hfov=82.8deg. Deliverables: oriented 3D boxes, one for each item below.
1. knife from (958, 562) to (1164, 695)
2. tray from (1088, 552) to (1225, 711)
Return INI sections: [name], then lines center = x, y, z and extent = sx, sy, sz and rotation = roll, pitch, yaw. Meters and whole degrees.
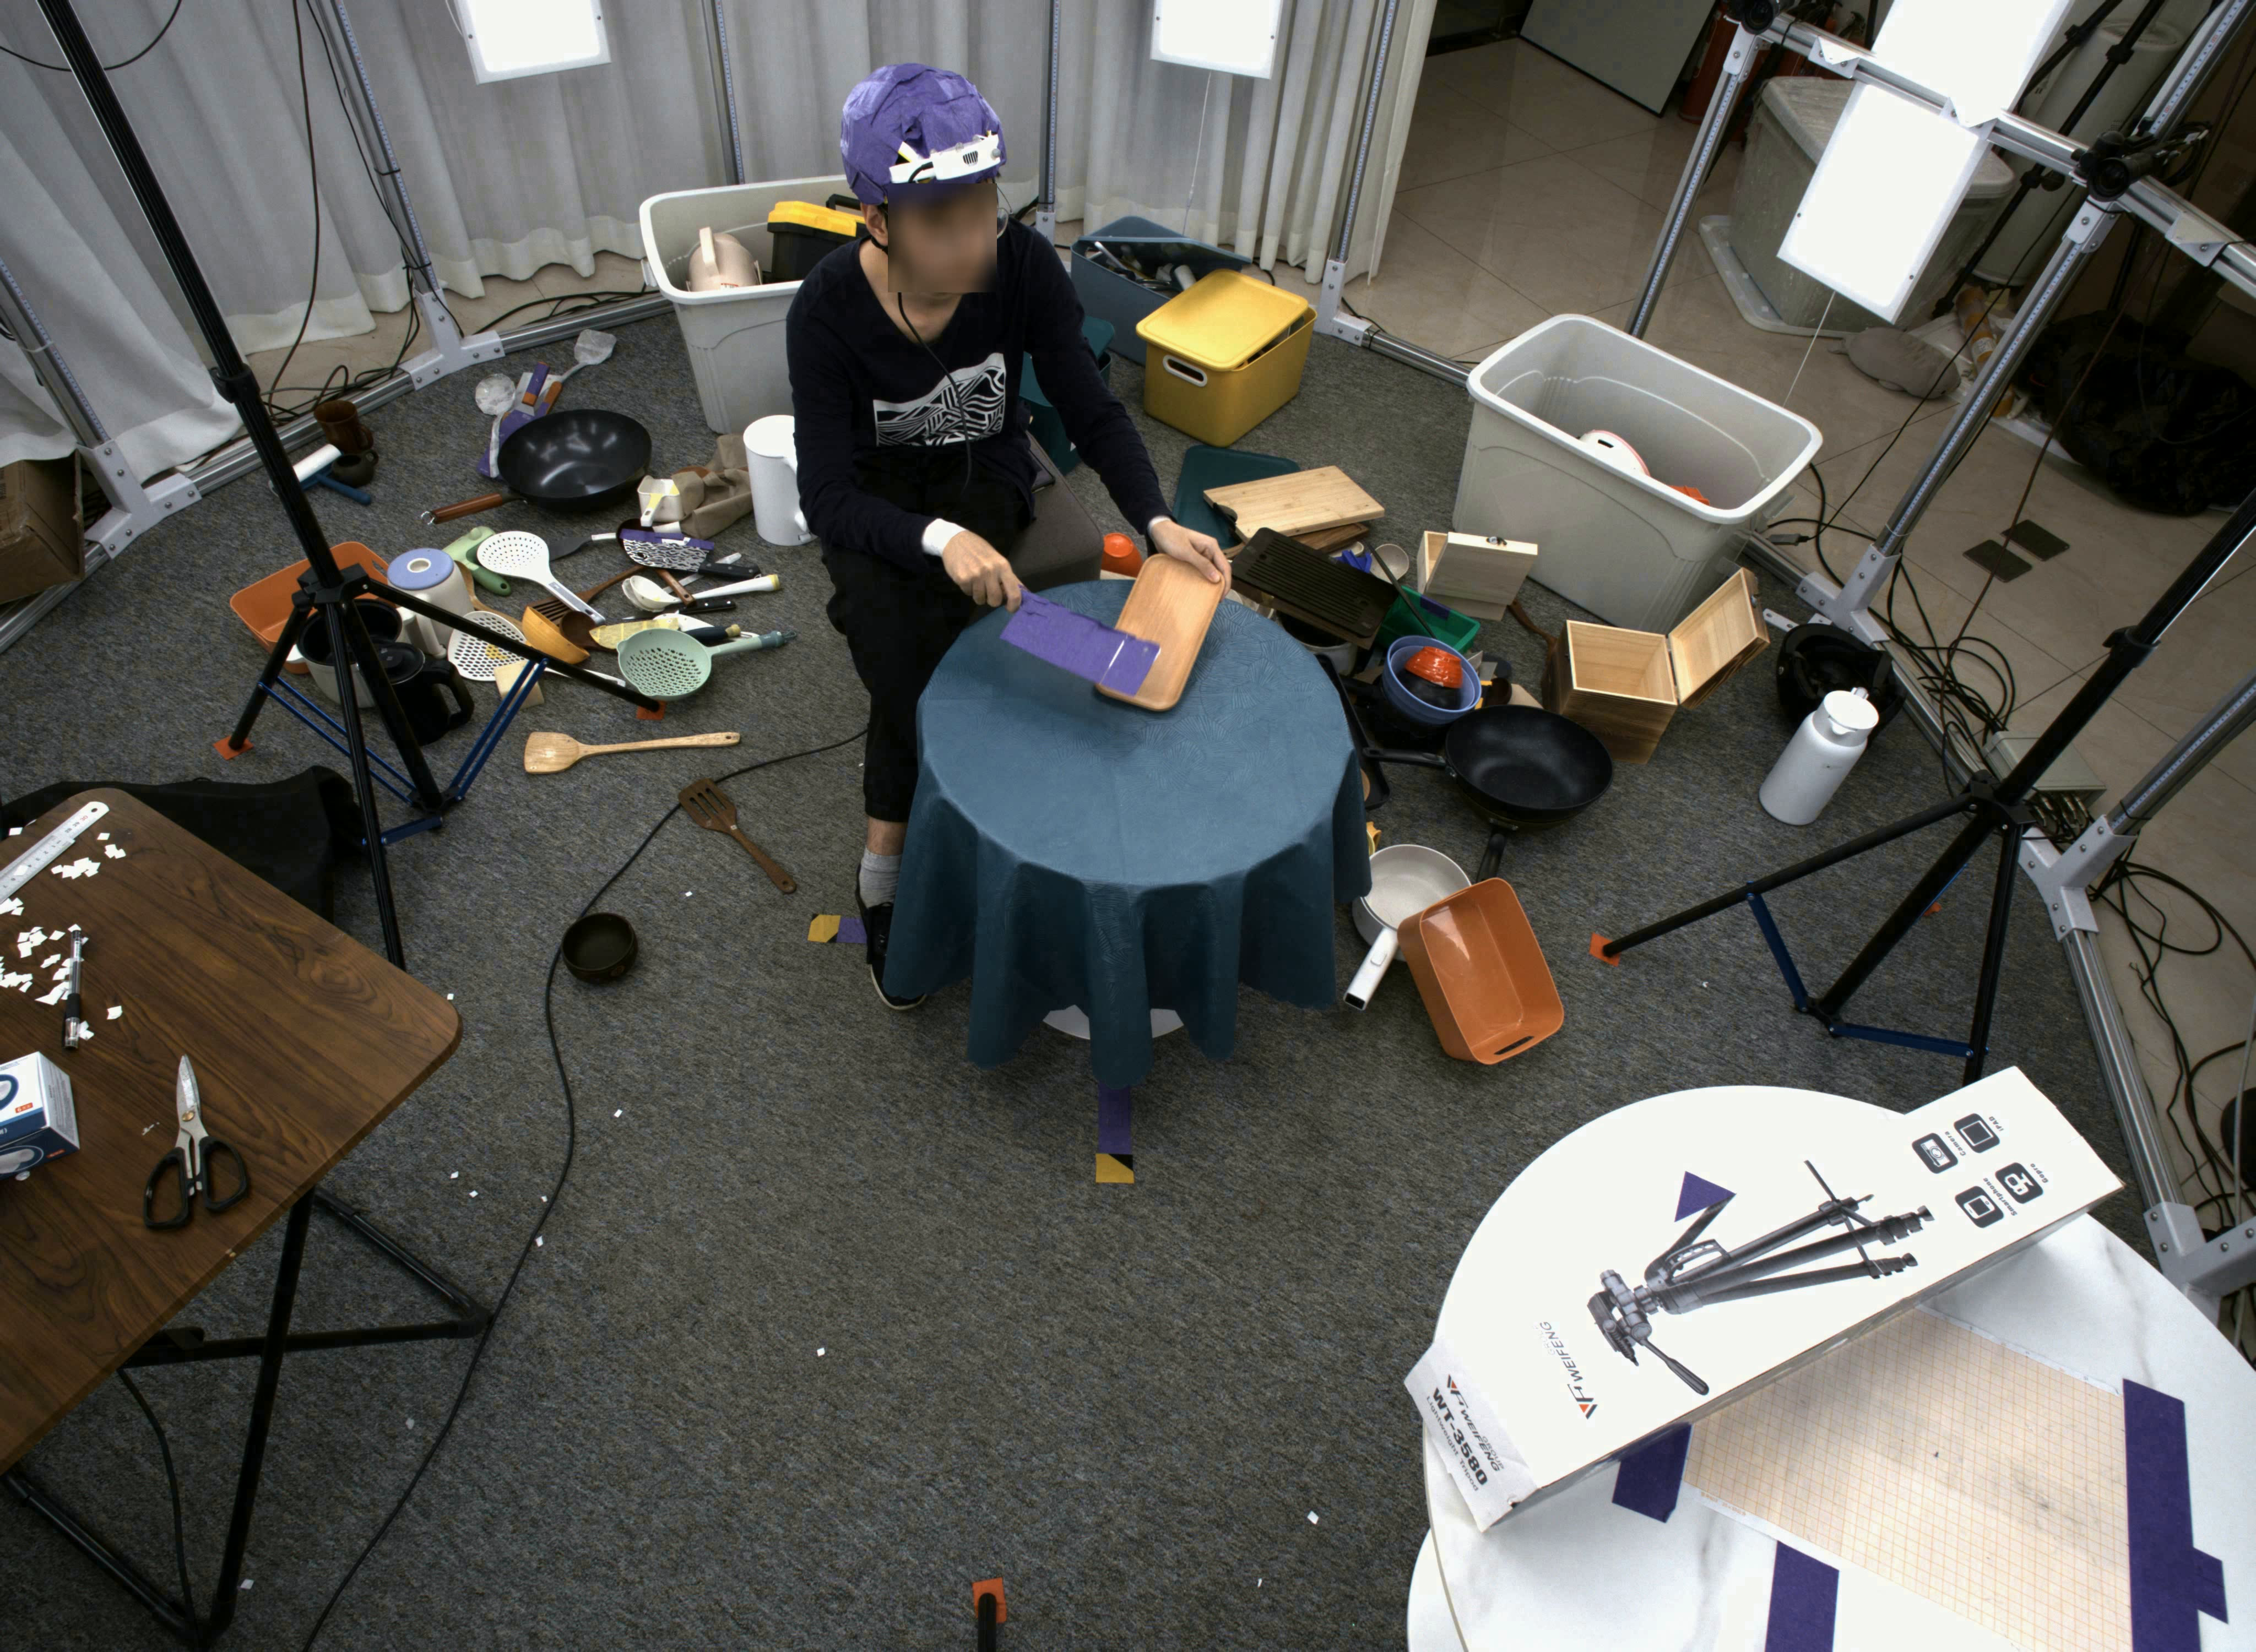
[knife]
center = -0.109, -0.273, 1.777
extent = 0.317, 0.031, 0.105
rotation = 25, 61, 13
[tray]
center = 0.043, -0.283, 1.860
extent = 0.131, 0.022, 0.254
rotation = 20, 69, 15
